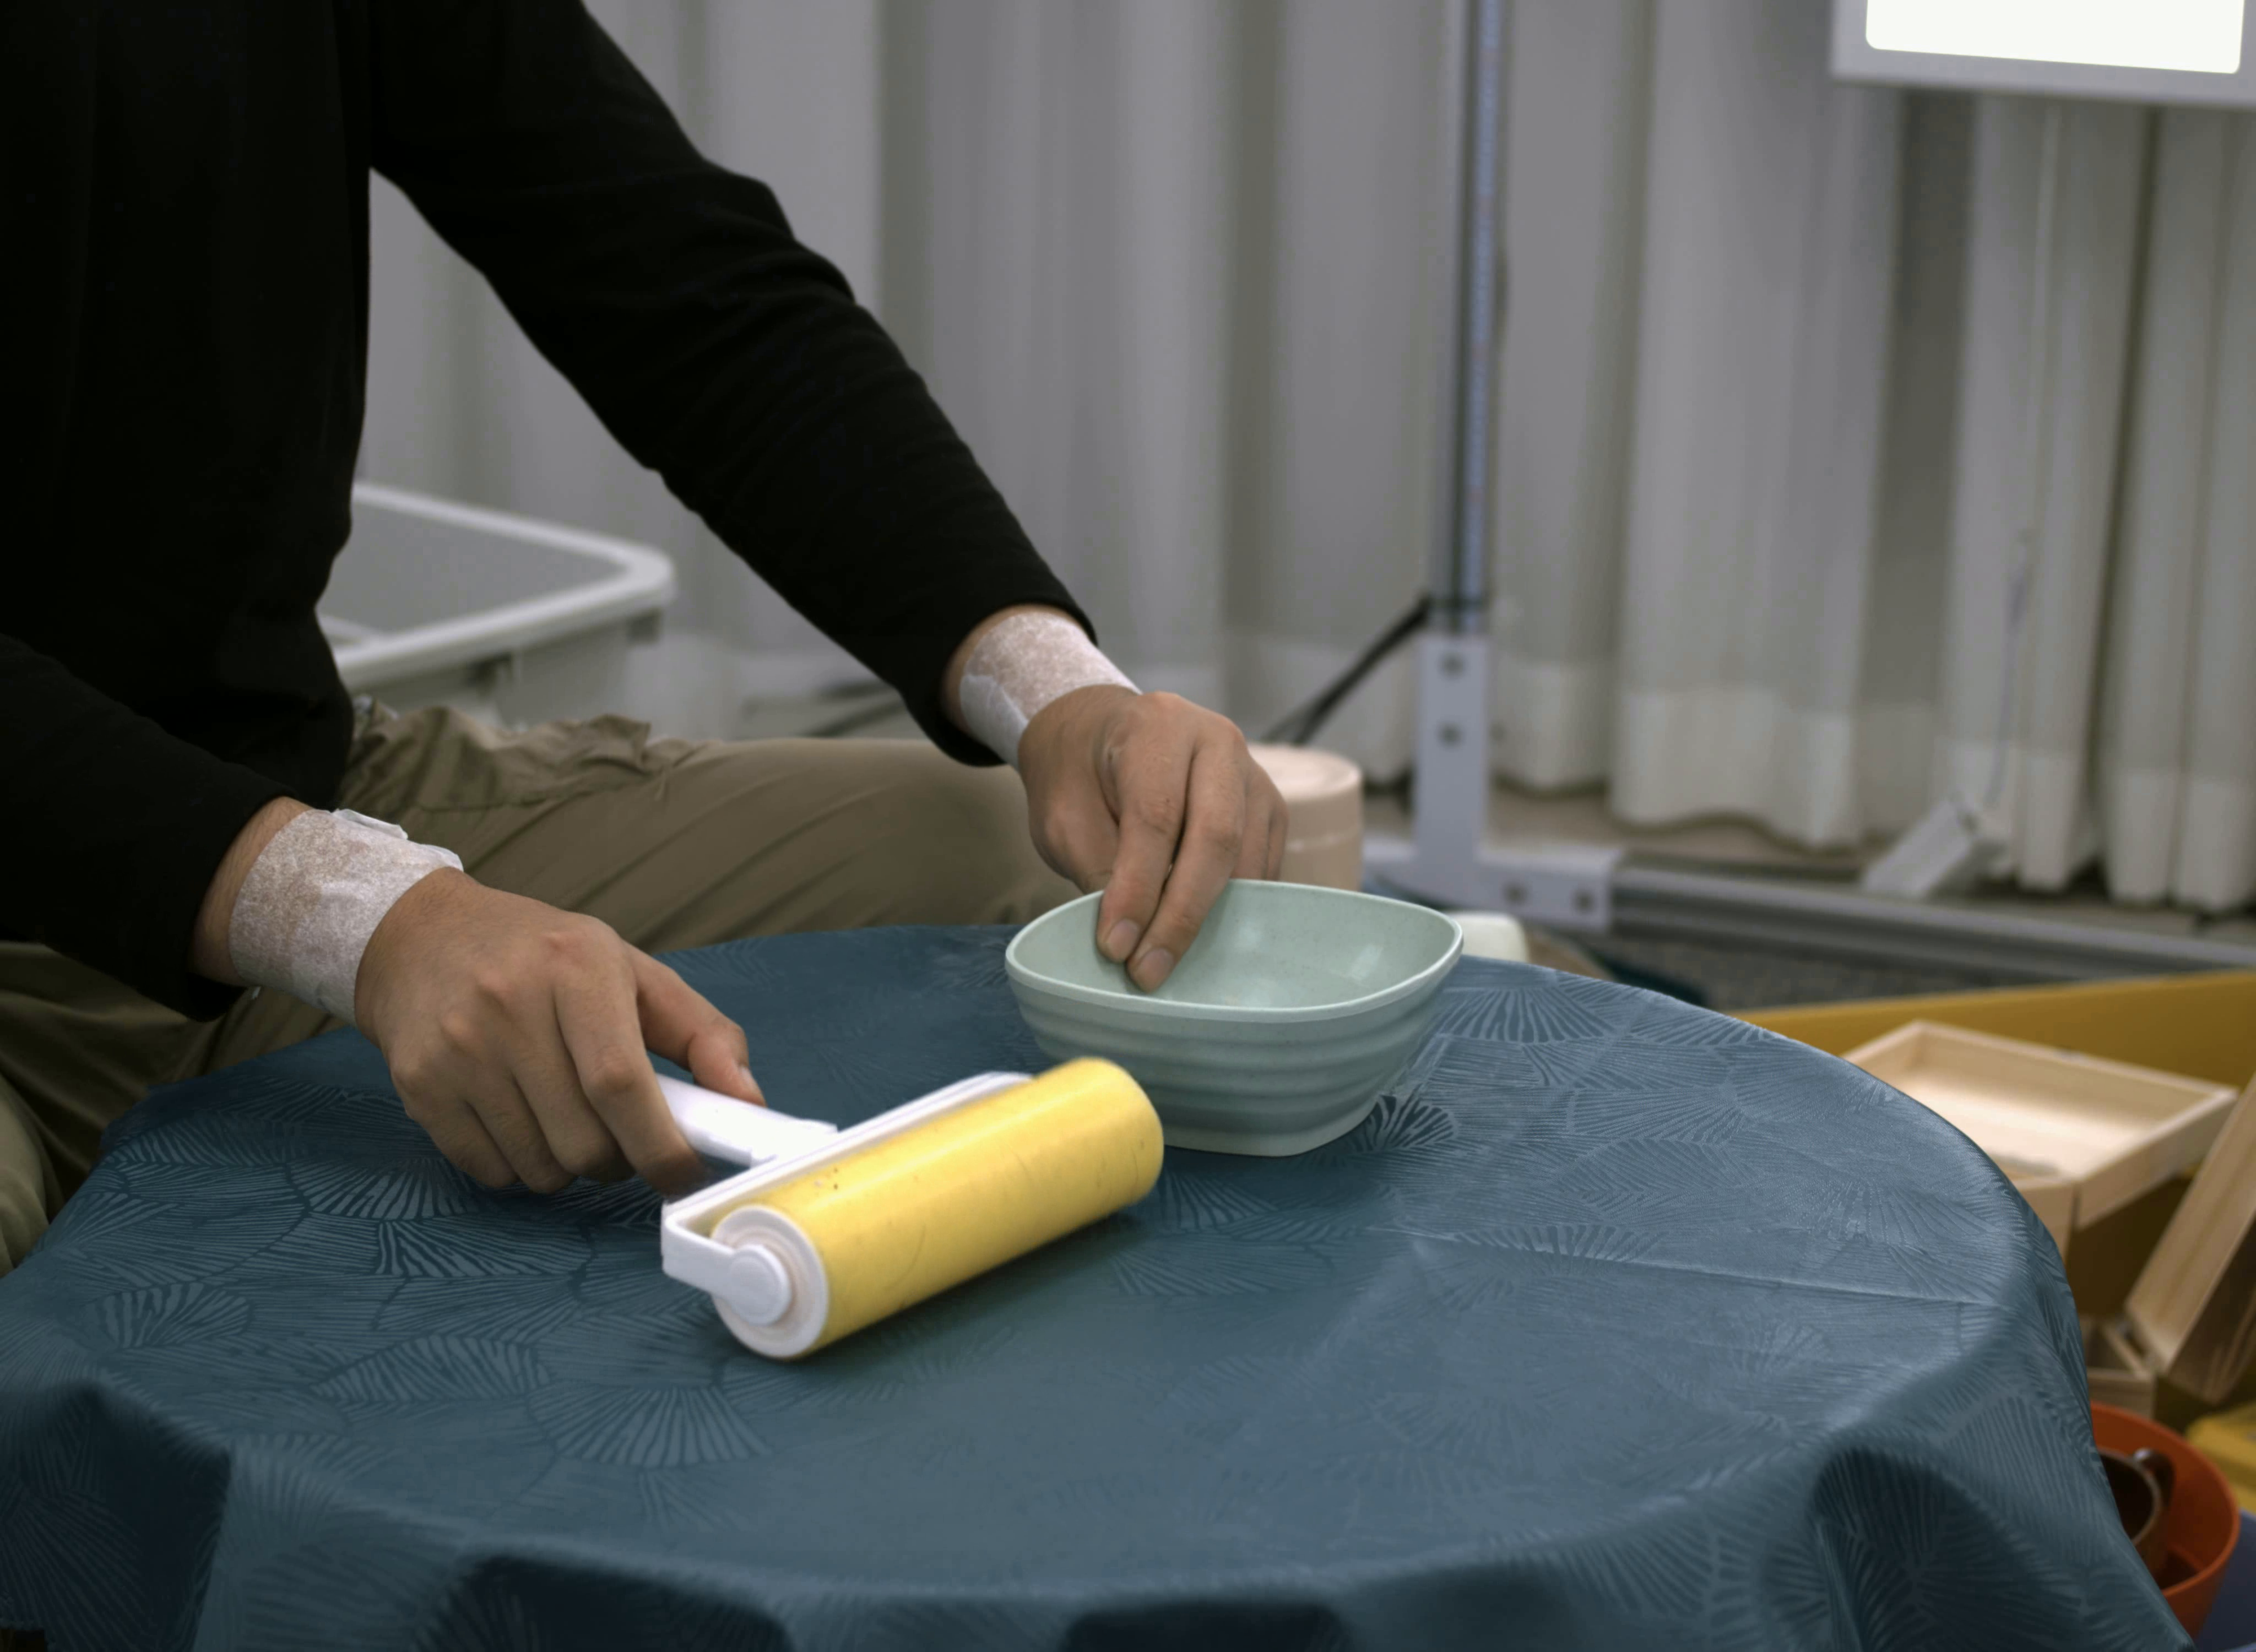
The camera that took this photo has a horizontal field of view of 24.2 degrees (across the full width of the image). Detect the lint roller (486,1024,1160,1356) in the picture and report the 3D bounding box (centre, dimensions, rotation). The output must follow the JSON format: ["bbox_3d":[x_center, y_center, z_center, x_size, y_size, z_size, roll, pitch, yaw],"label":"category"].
[{"bbox_3d":[-0.113,0.083,1.566,0.190,0.052,0.175,26,27,26],"label":"lint roller"}]

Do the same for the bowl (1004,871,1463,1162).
[{"bbox_3d":[0.034,0.064,1.689,0.151,0.059,0.150,2,17,0],"label":"bowl"}]
